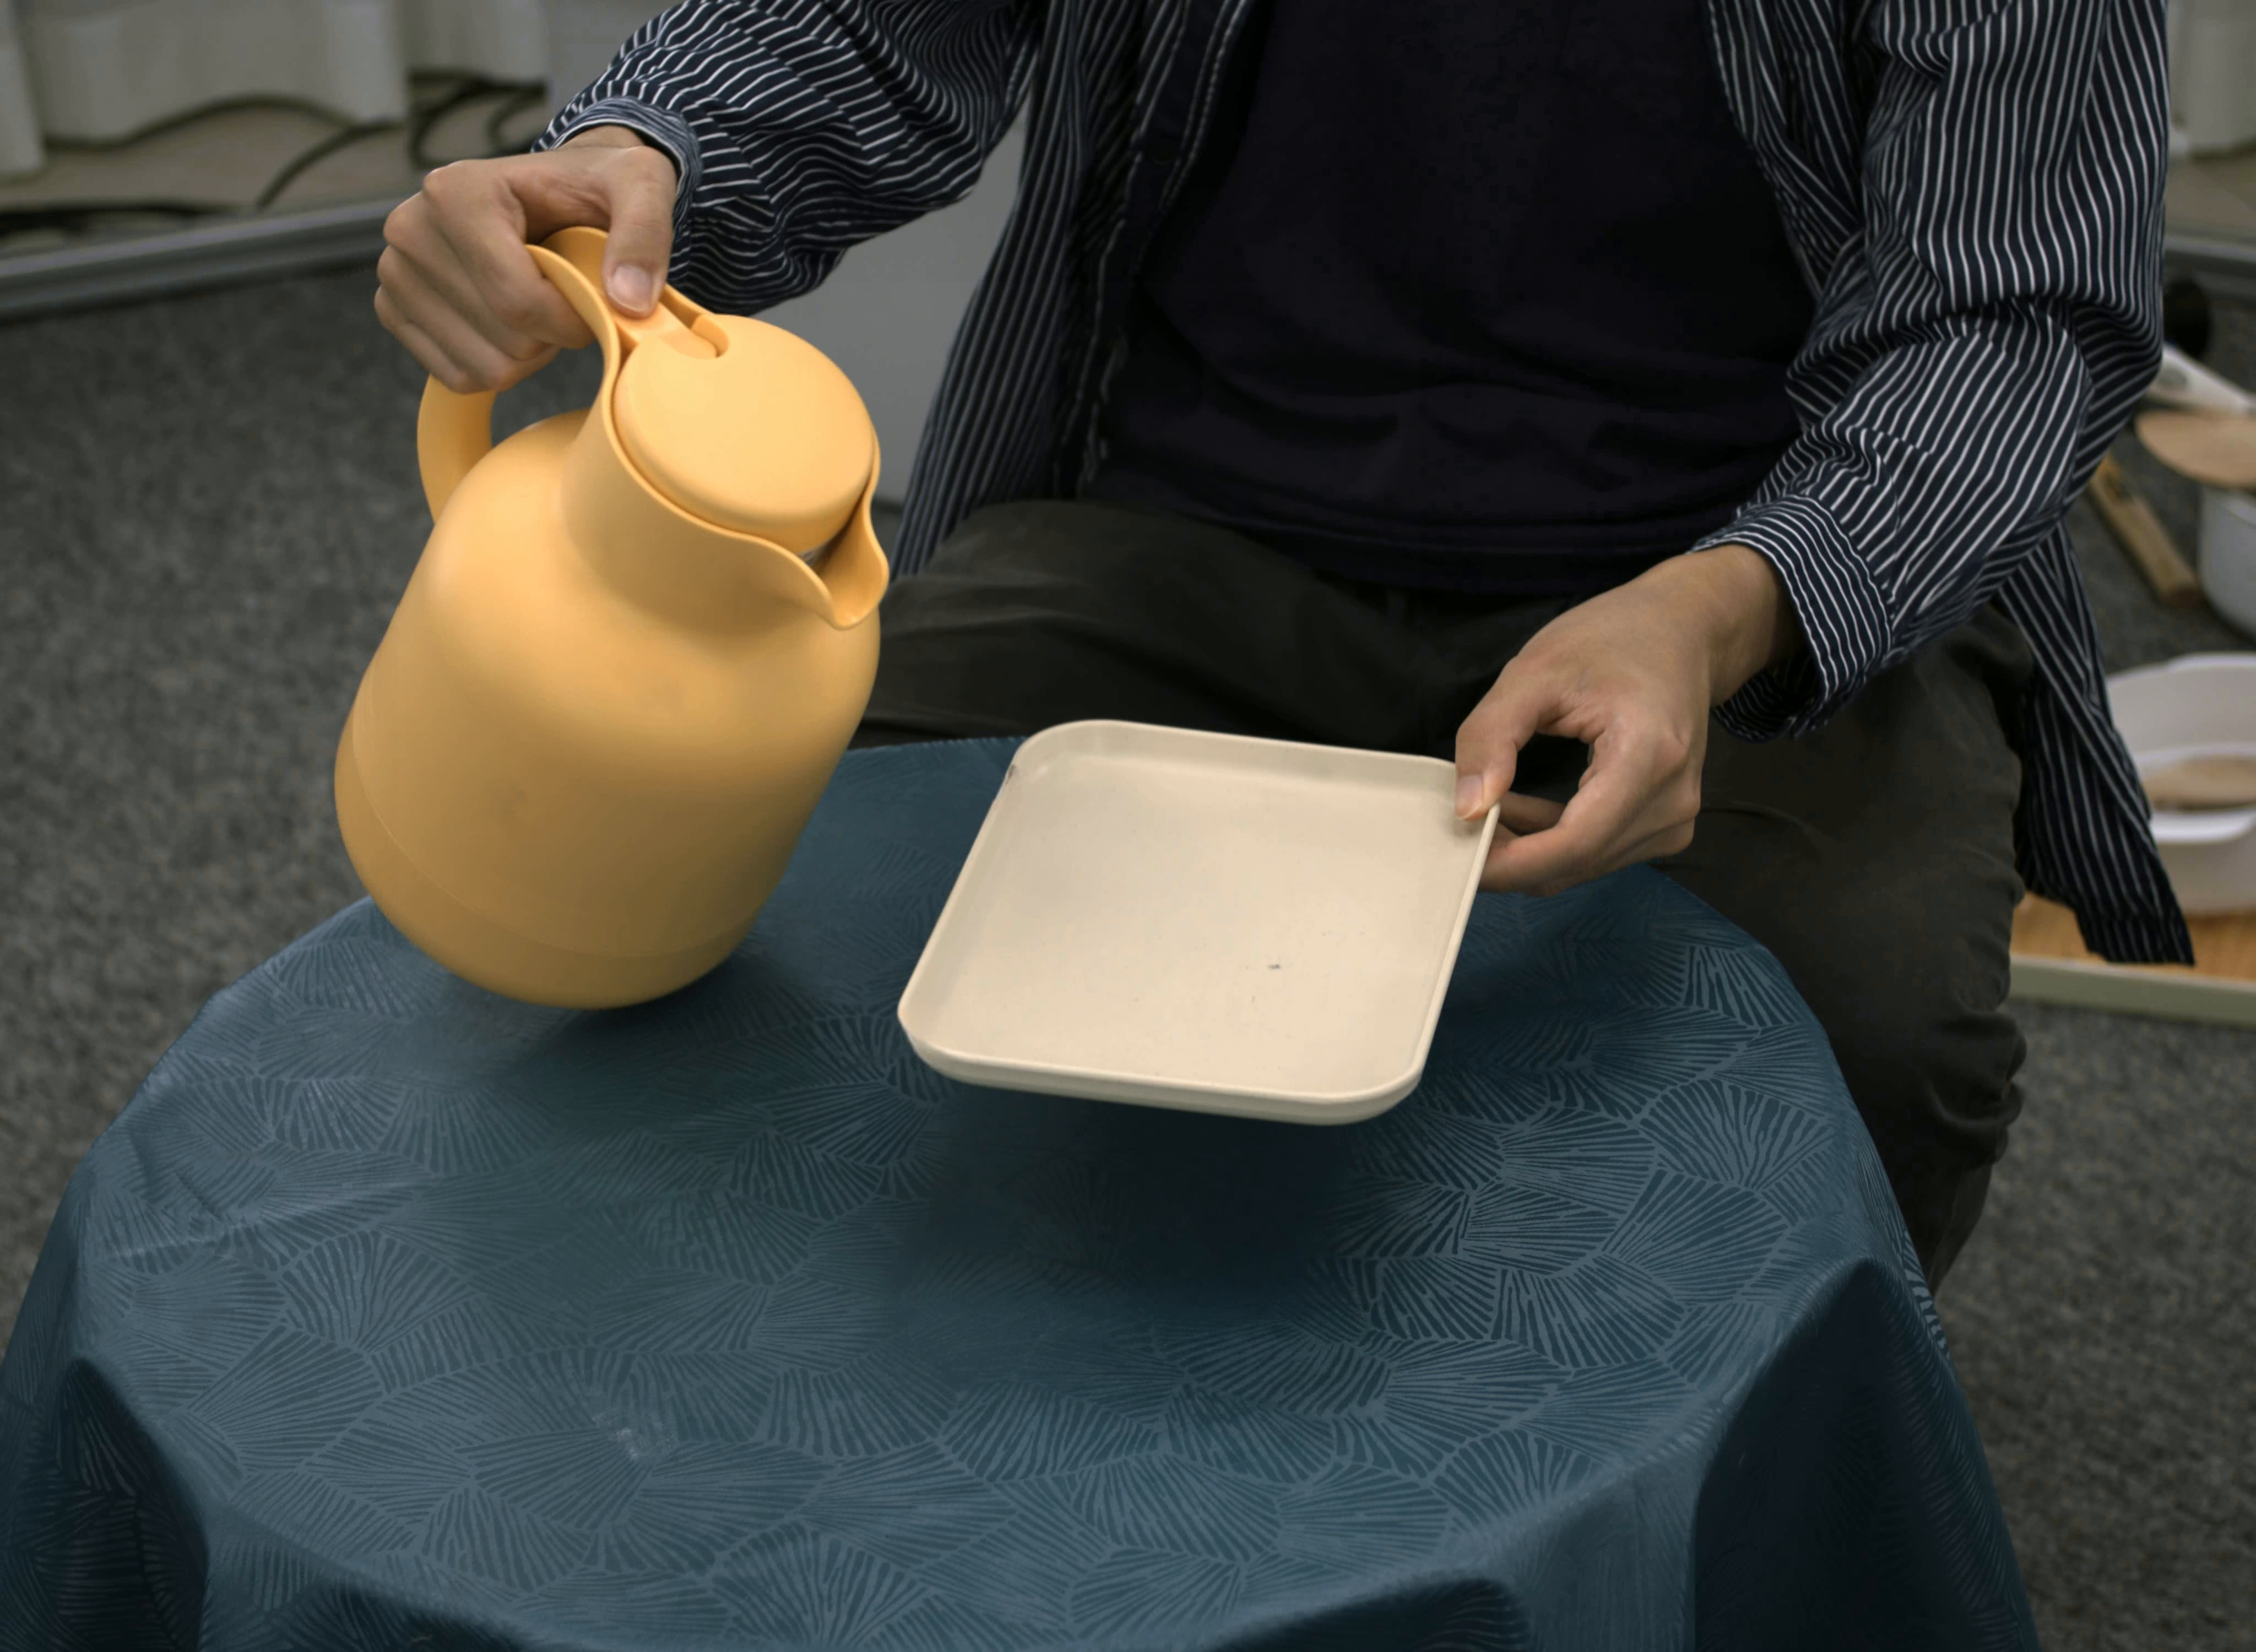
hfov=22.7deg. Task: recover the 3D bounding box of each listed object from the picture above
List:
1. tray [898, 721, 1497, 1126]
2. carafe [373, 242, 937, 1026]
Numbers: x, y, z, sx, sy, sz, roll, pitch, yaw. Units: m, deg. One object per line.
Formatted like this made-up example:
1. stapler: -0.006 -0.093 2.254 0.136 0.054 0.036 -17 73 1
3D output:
1. tray: 0.026 0.031 1.853 0.170 0.017 0.243 7 28 9
2. carafe: -0.165 -0.073 1.937 0.165 0.256 0.203 -25 67 -41
